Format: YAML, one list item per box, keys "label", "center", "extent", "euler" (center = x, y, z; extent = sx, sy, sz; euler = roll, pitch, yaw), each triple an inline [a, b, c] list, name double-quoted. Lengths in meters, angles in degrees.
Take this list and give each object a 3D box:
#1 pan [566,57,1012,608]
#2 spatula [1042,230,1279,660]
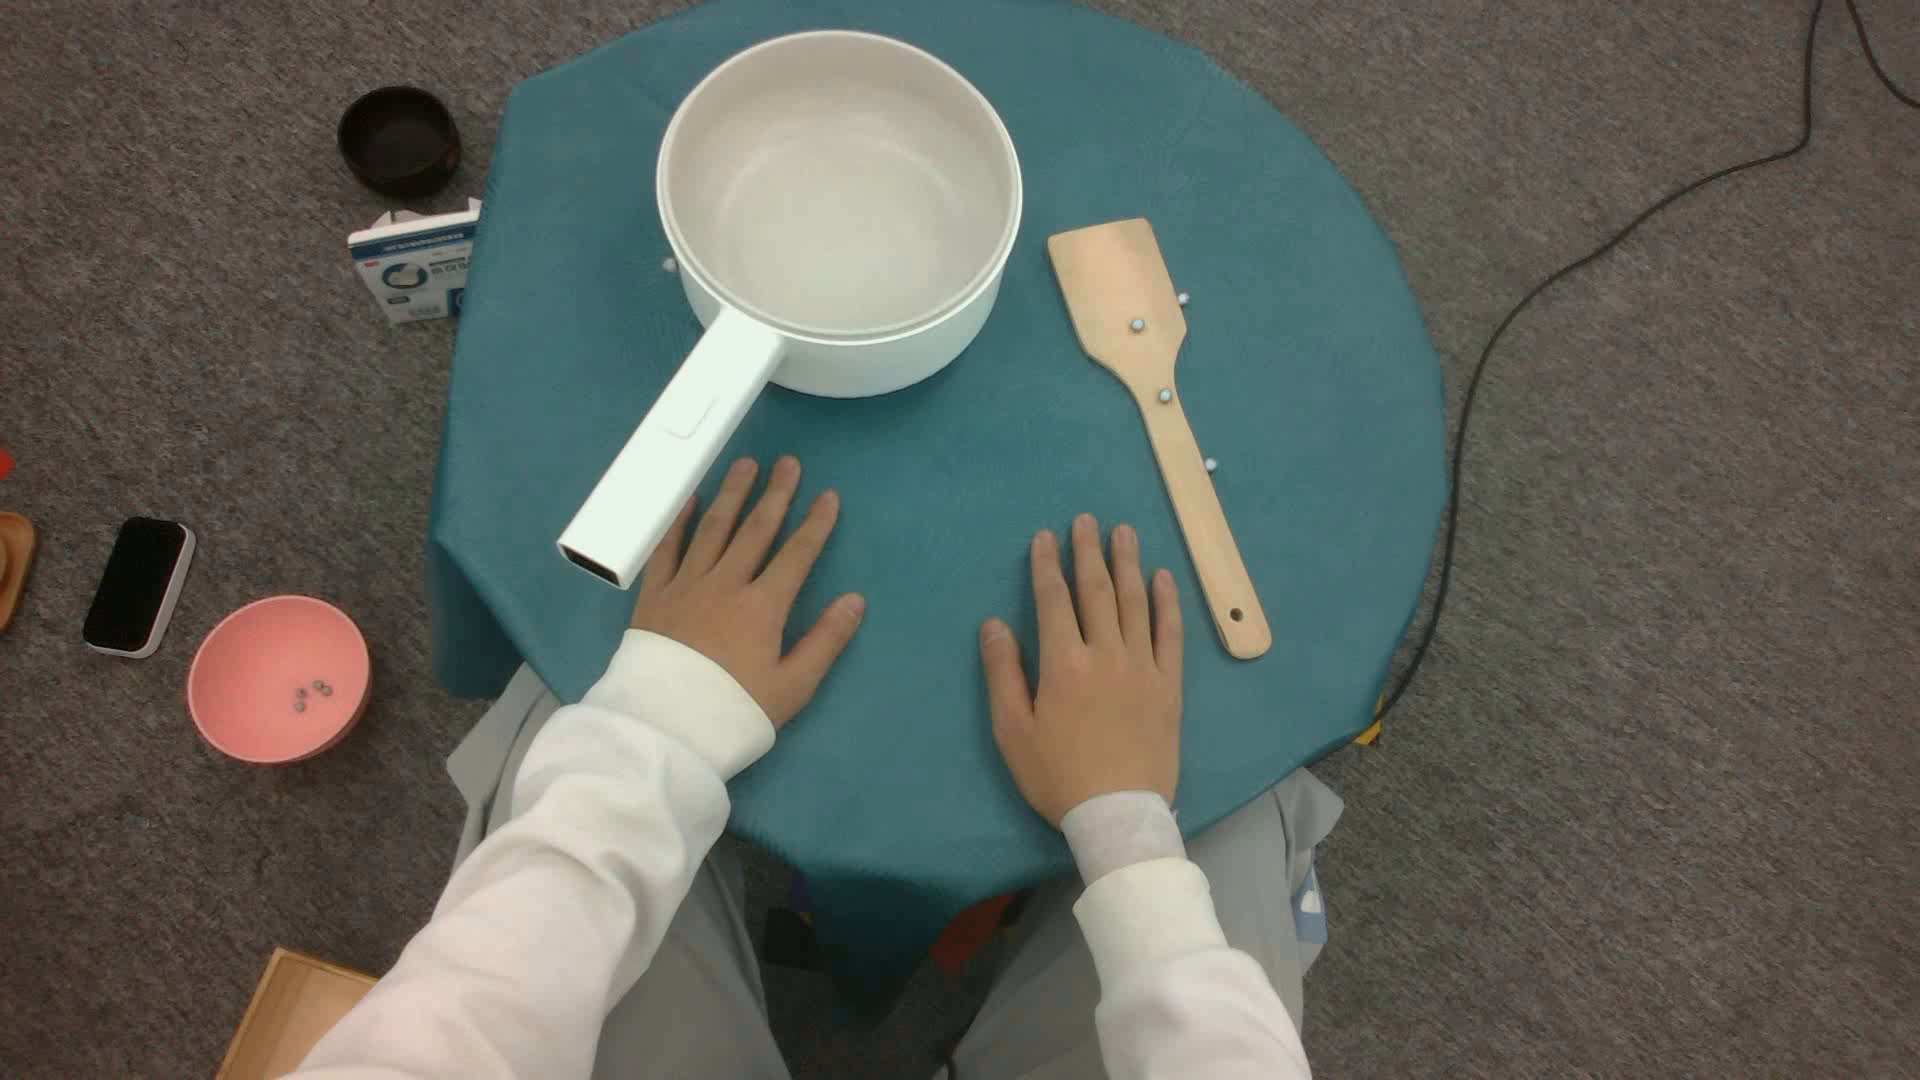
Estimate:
- label: "pan"
  center: [-0.106, -0.111, 0.794]
  extent: [0.201, 0.102, 0.356]
  euler: [26, 70, 5]
- label: "spatula"
  center: [0.129, -0.063, 0.839]
  extent: [0.072, 0.010, 0.293]
  euler: [-15, 70, -11]
